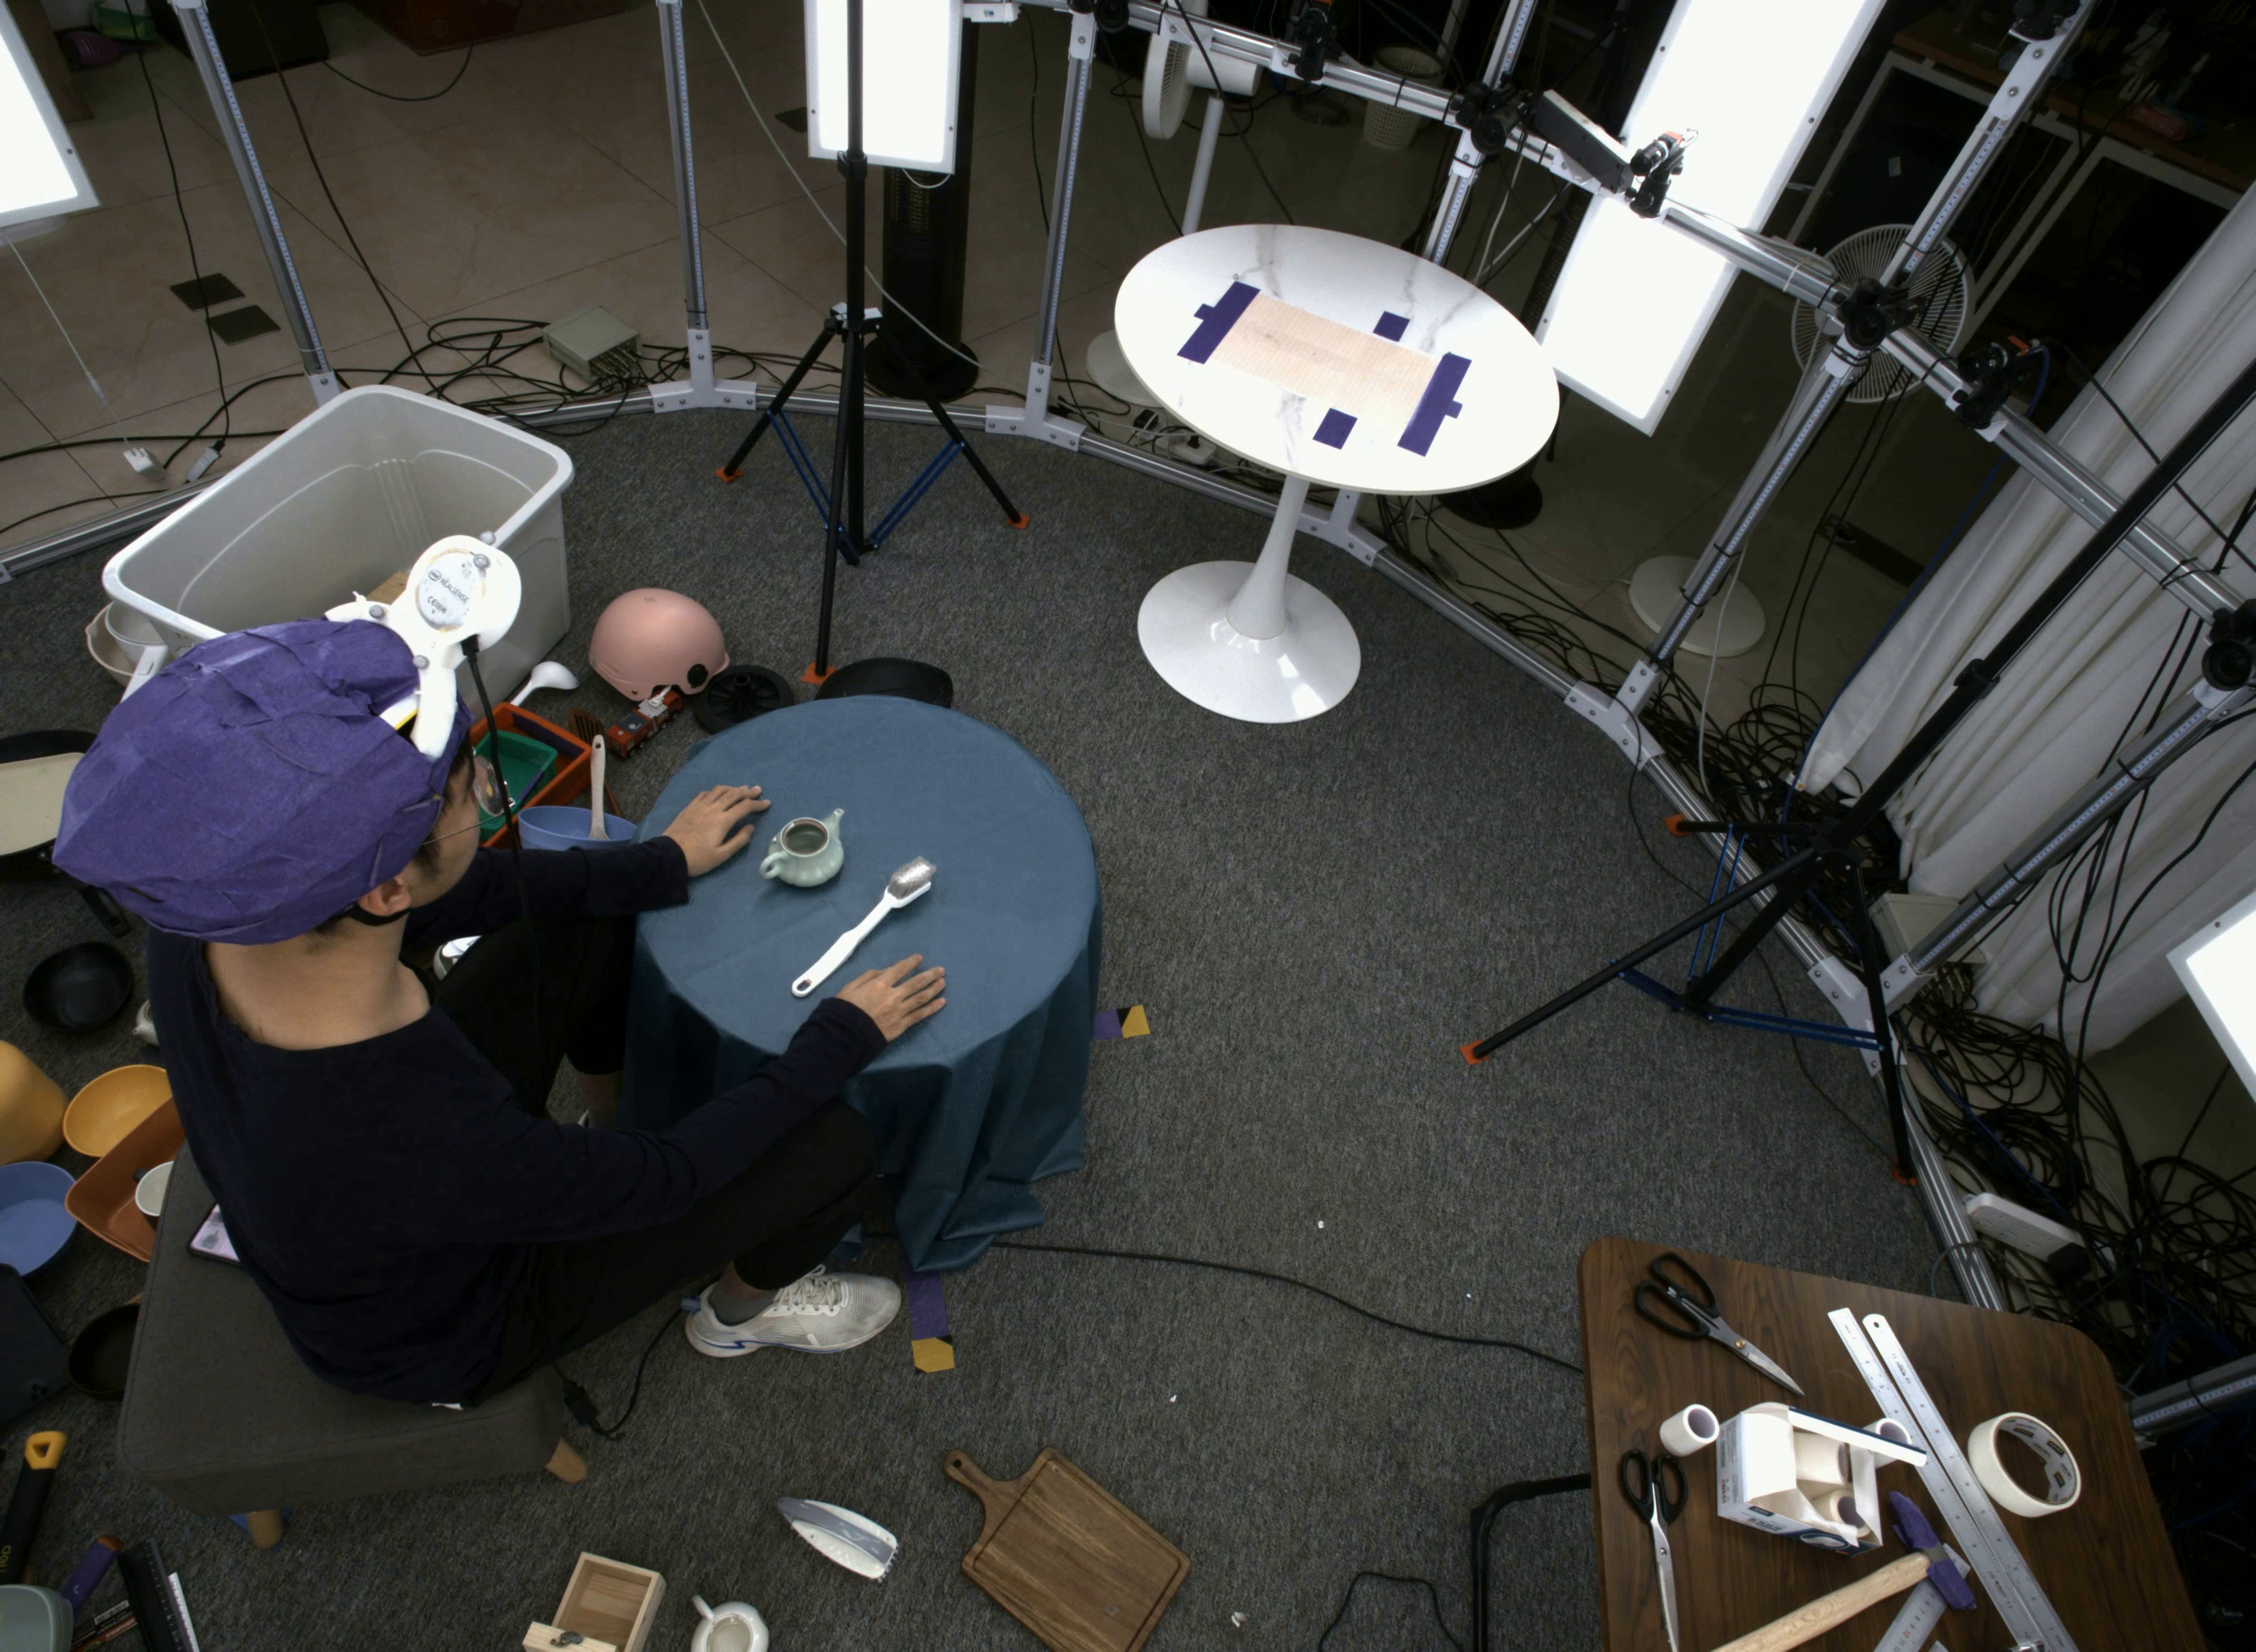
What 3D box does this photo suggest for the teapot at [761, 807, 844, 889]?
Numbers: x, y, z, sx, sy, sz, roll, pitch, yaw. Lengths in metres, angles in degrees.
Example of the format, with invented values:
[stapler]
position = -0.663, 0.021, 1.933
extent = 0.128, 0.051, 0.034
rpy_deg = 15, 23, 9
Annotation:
[teapot]
position = -0.418, 0.032, 1.664
extent = 0.094, 0.062, 0.137
rpy_deg = 38, 54, 13

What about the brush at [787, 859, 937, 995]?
[brush]
position = -0.333, 0.121, 1.628
extent = 0.034, 0.051, 0.244
rpy_deg = 40, 55, 13
